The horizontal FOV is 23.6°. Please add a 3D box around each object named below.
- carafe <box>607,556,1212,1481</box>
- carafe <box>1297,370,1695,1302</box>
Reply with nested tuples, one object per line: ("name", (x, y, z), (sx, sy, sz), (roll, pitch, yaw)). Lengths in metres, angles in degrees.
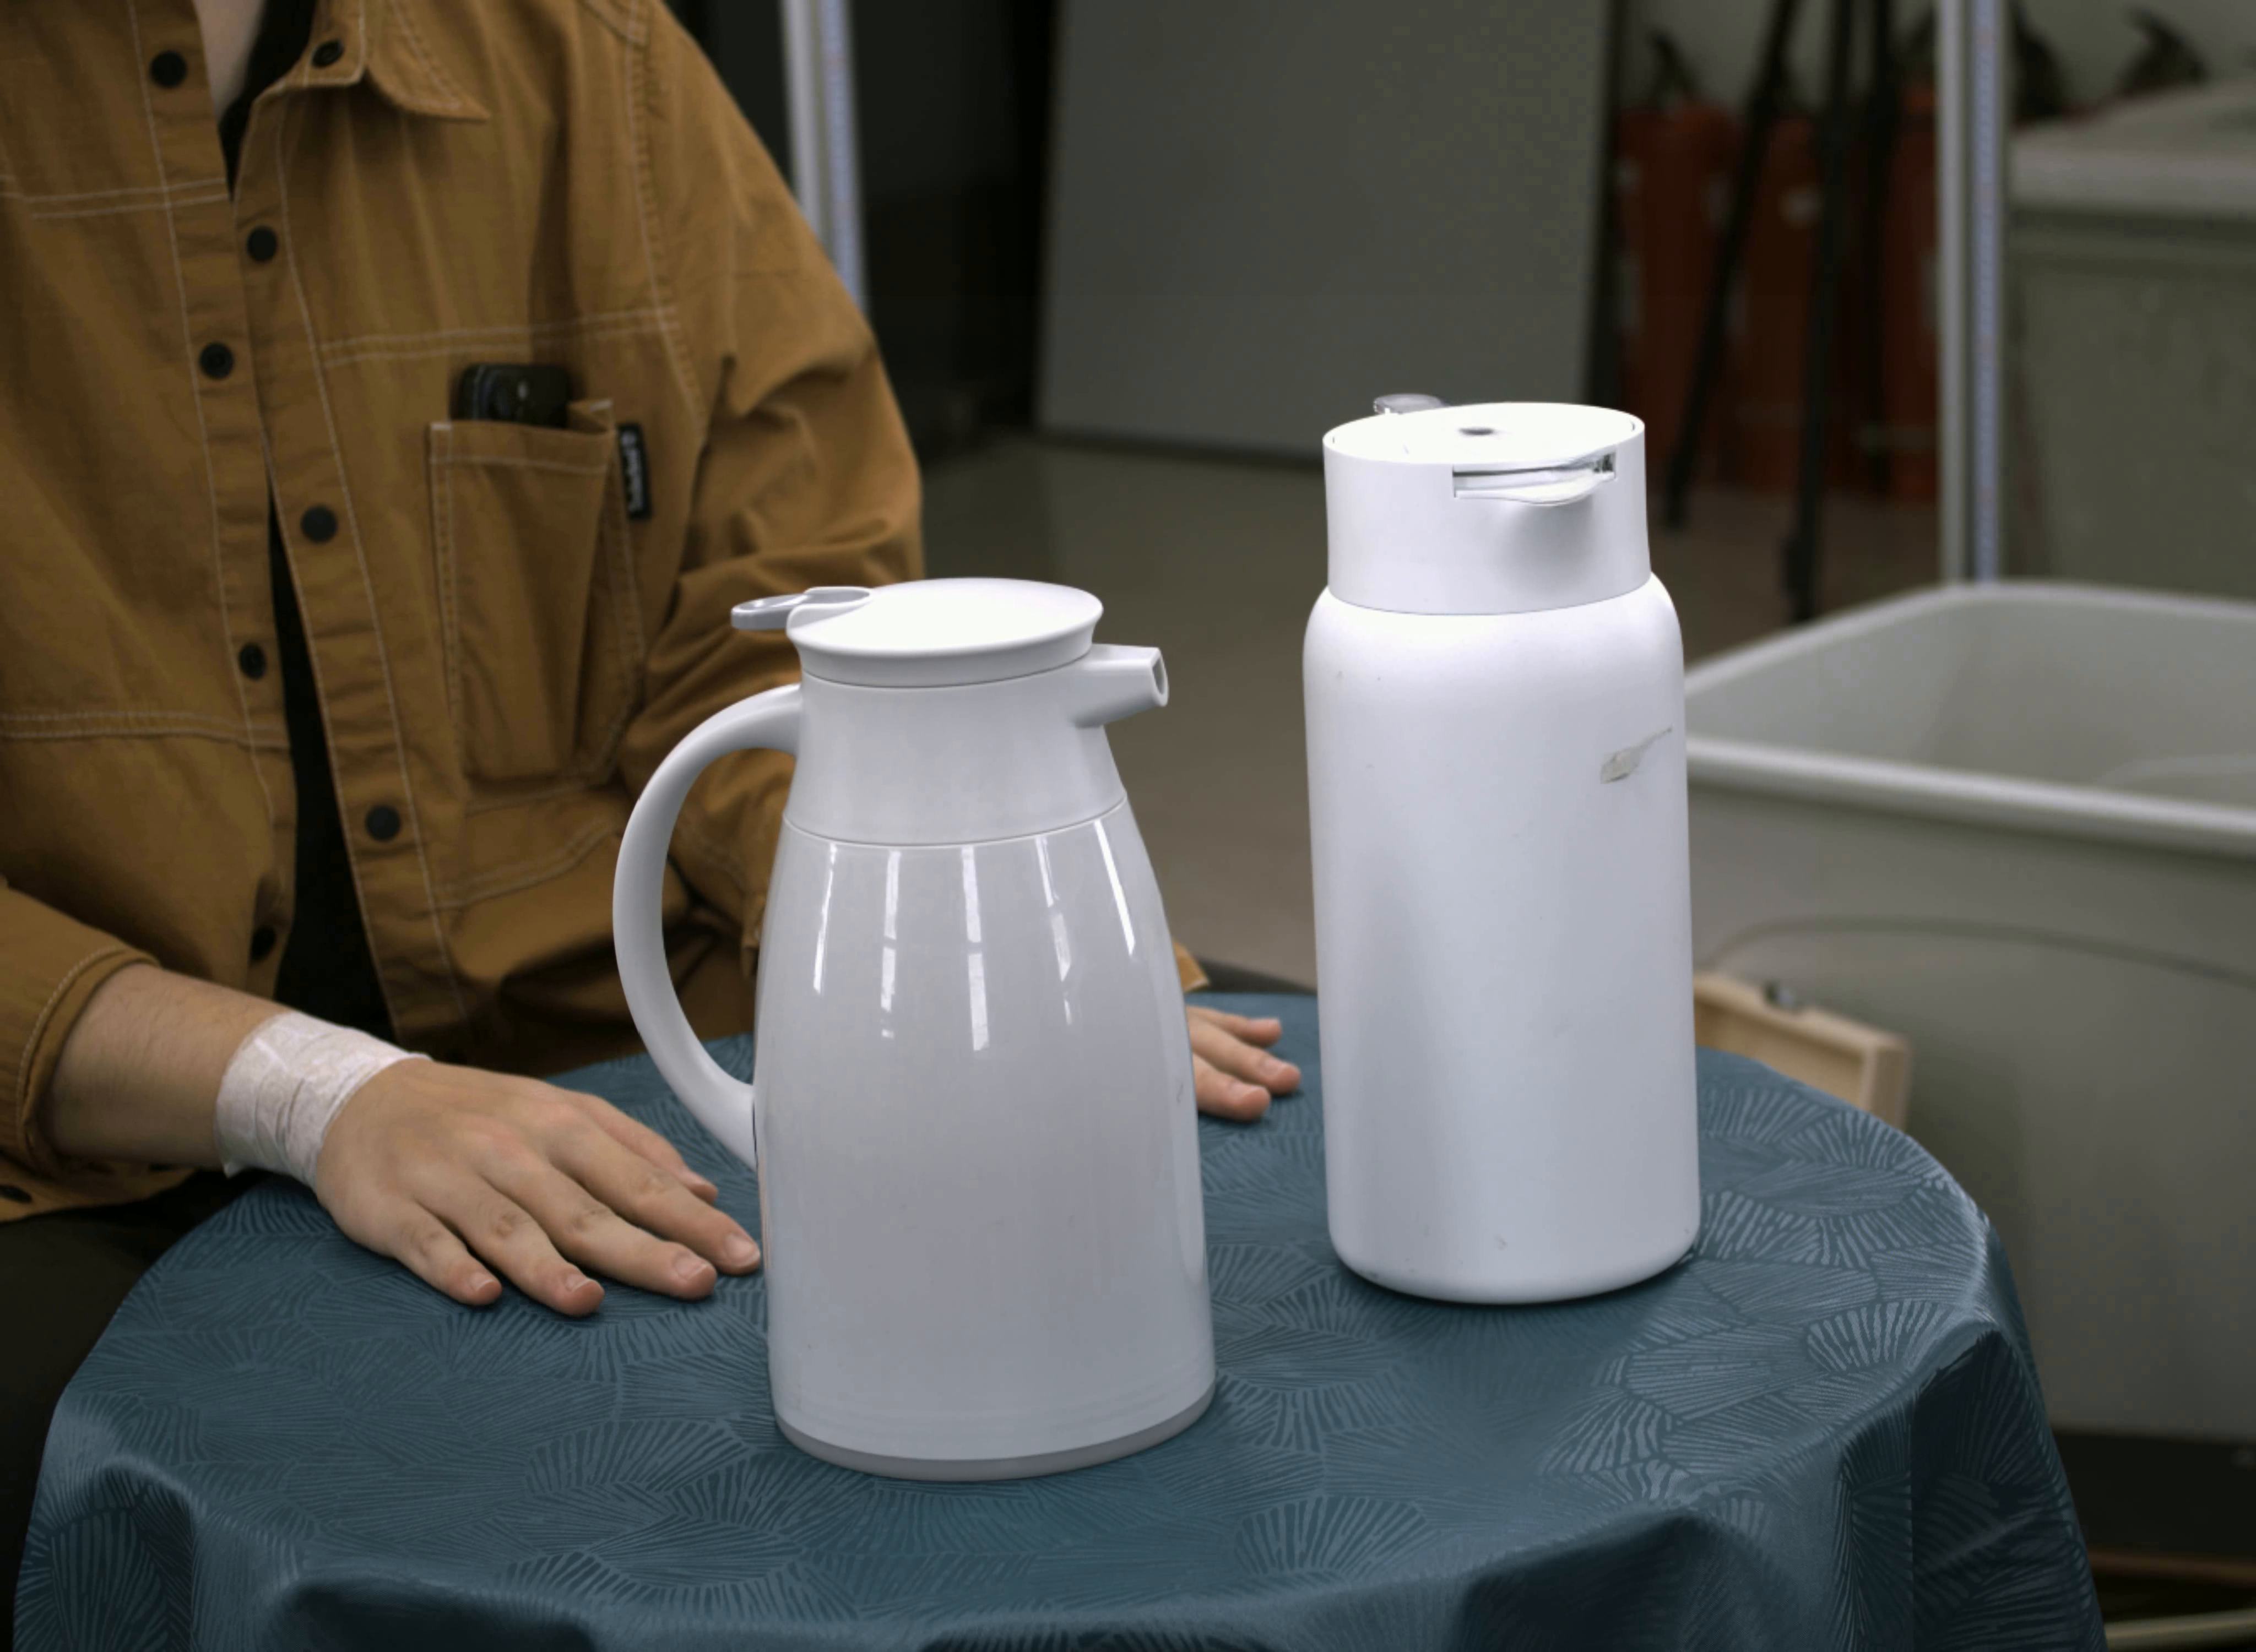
("carafe", (-0.066, 0.050, 1.562), (0.166, 0.251, 0.132), (-2, 13, 10))
("carafe", (0.106, 0.000, 1.671), (0.121, 0.272, 0.174), (-10, 14, -17))
